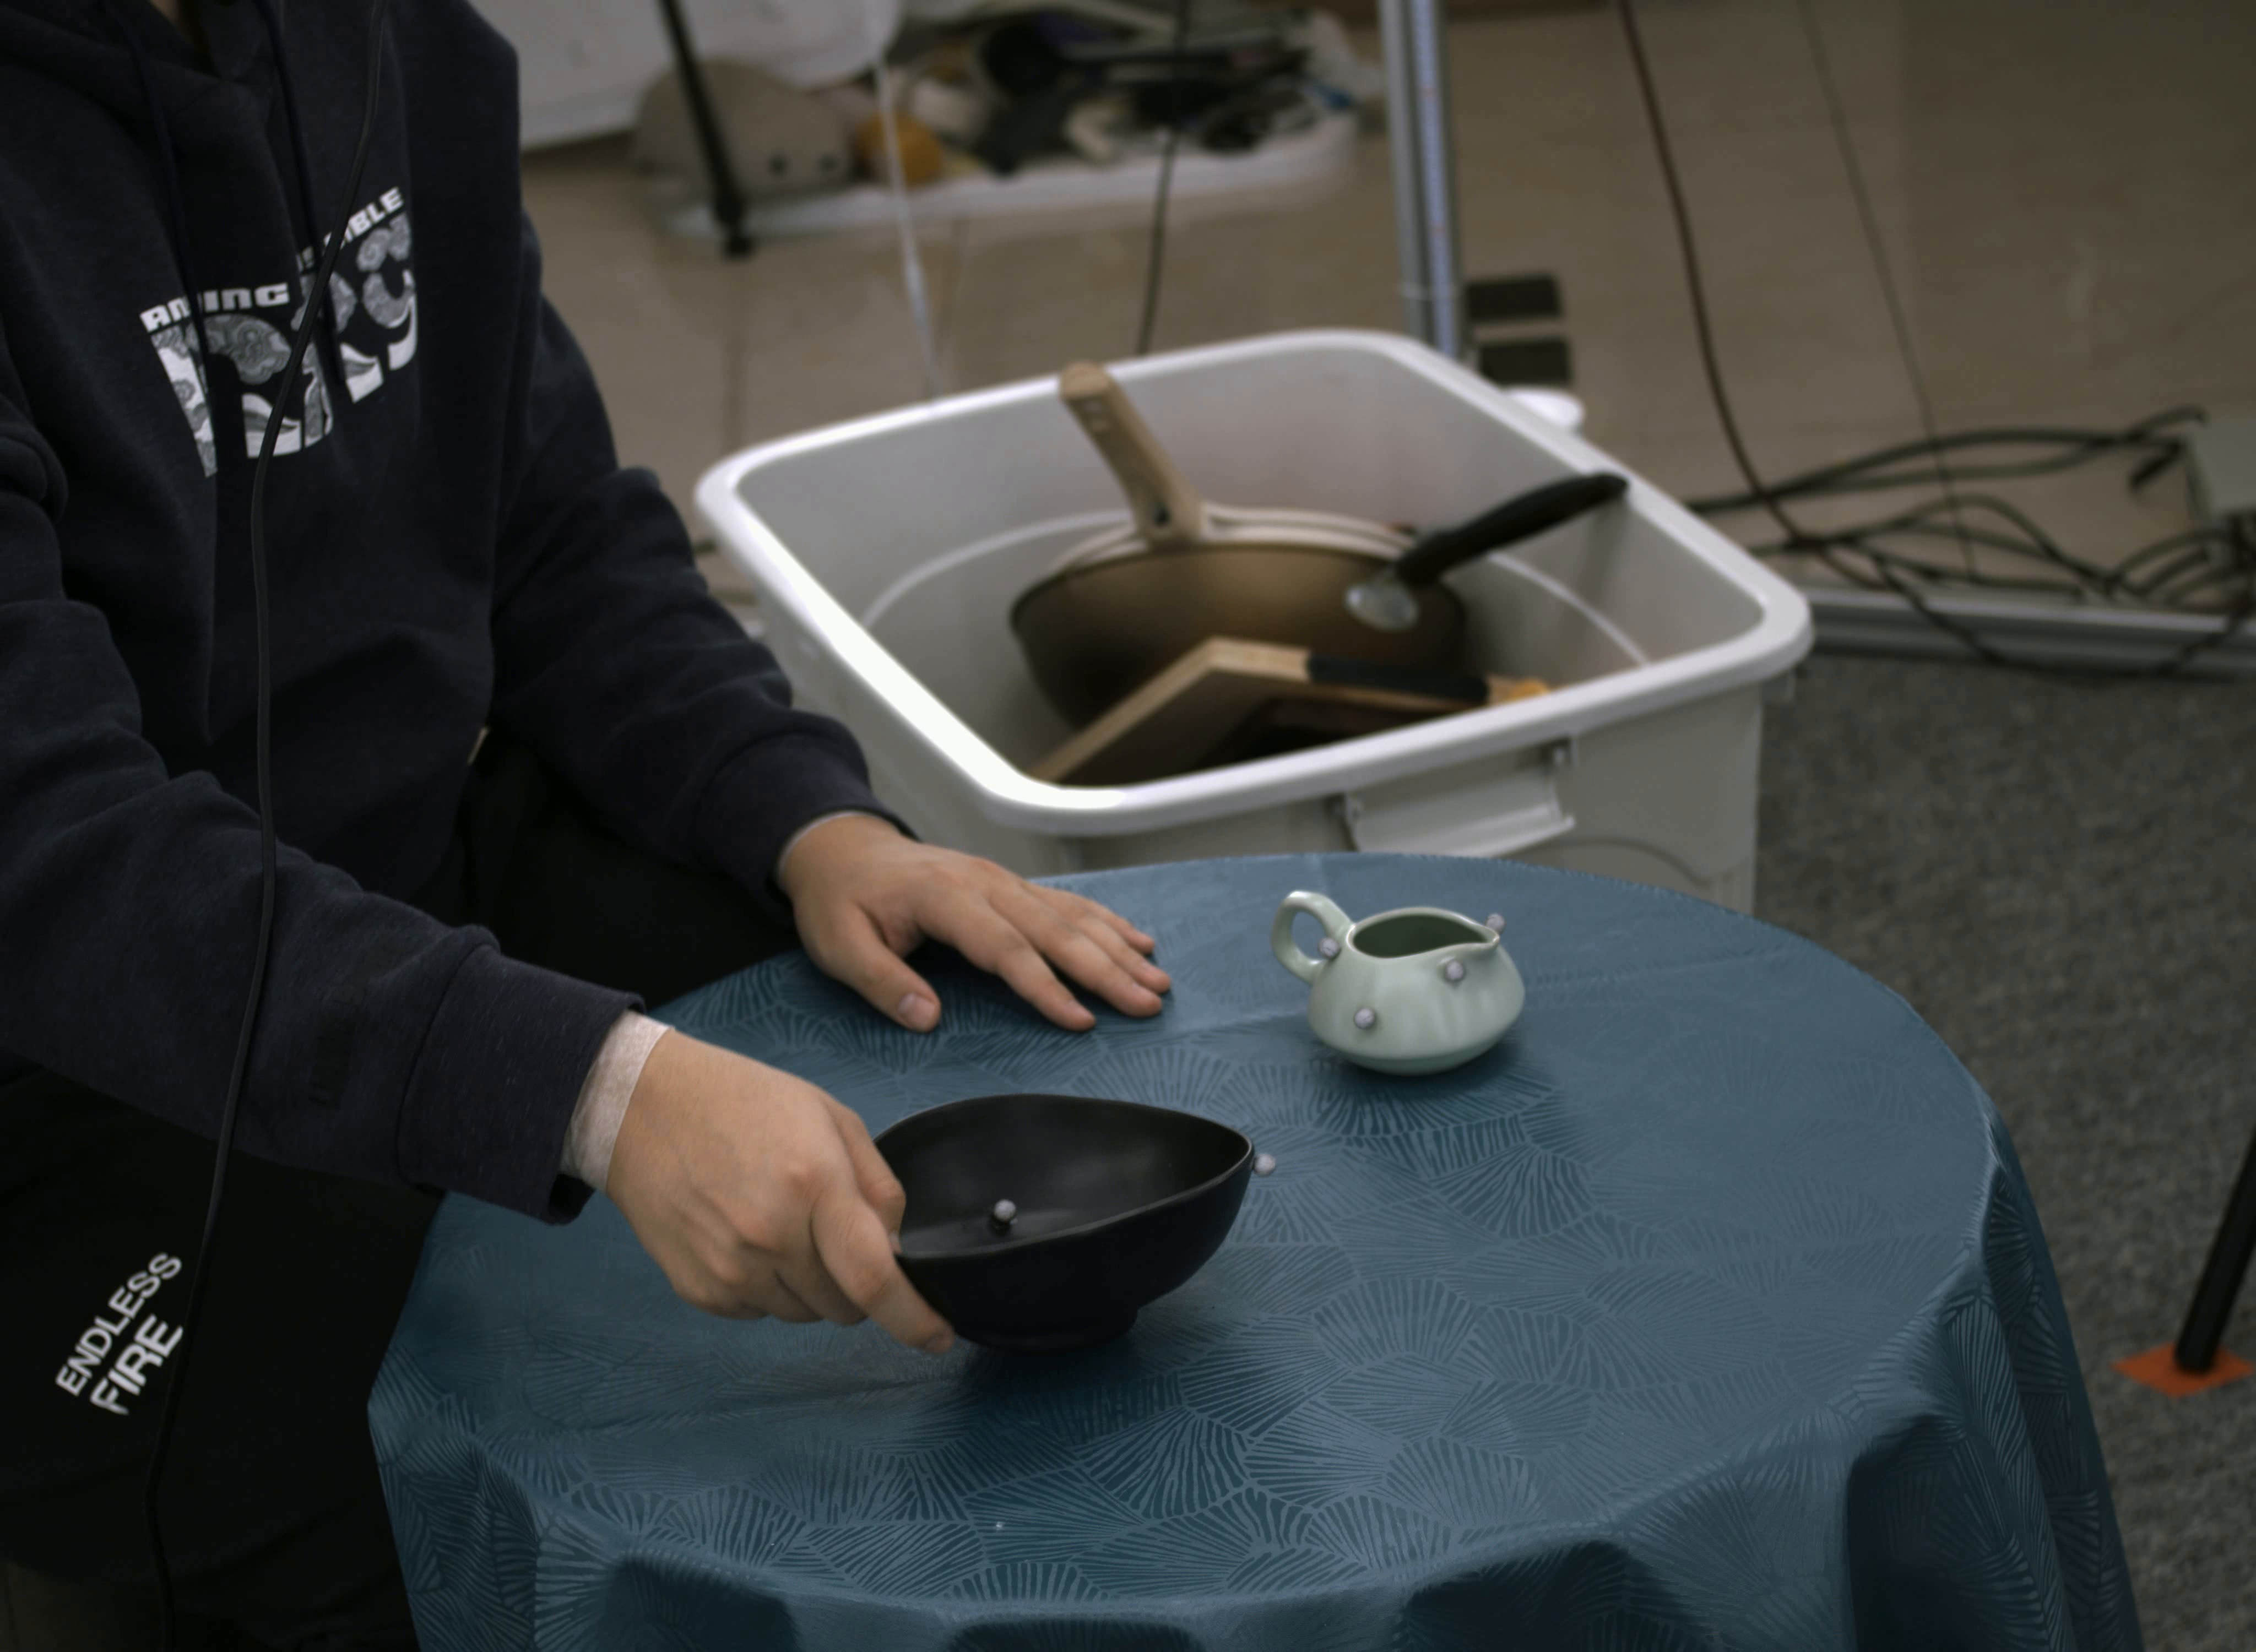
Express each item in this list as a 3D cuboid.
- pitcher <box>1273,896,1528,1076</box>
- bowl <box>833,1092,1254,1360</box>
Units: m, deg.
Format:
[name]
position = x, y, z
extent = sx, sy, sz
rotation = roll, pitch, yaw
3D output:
[pitcher]
position = 0.103, 0.061, 2.226
extent = 0.107, 0.061, 0.085
rotation = 9, 28, 34
[bowl]
position = -0.030, 0.150, 2.040
extent = 0.136, 0.067, 0.169
rotation = 11, 21, 36
